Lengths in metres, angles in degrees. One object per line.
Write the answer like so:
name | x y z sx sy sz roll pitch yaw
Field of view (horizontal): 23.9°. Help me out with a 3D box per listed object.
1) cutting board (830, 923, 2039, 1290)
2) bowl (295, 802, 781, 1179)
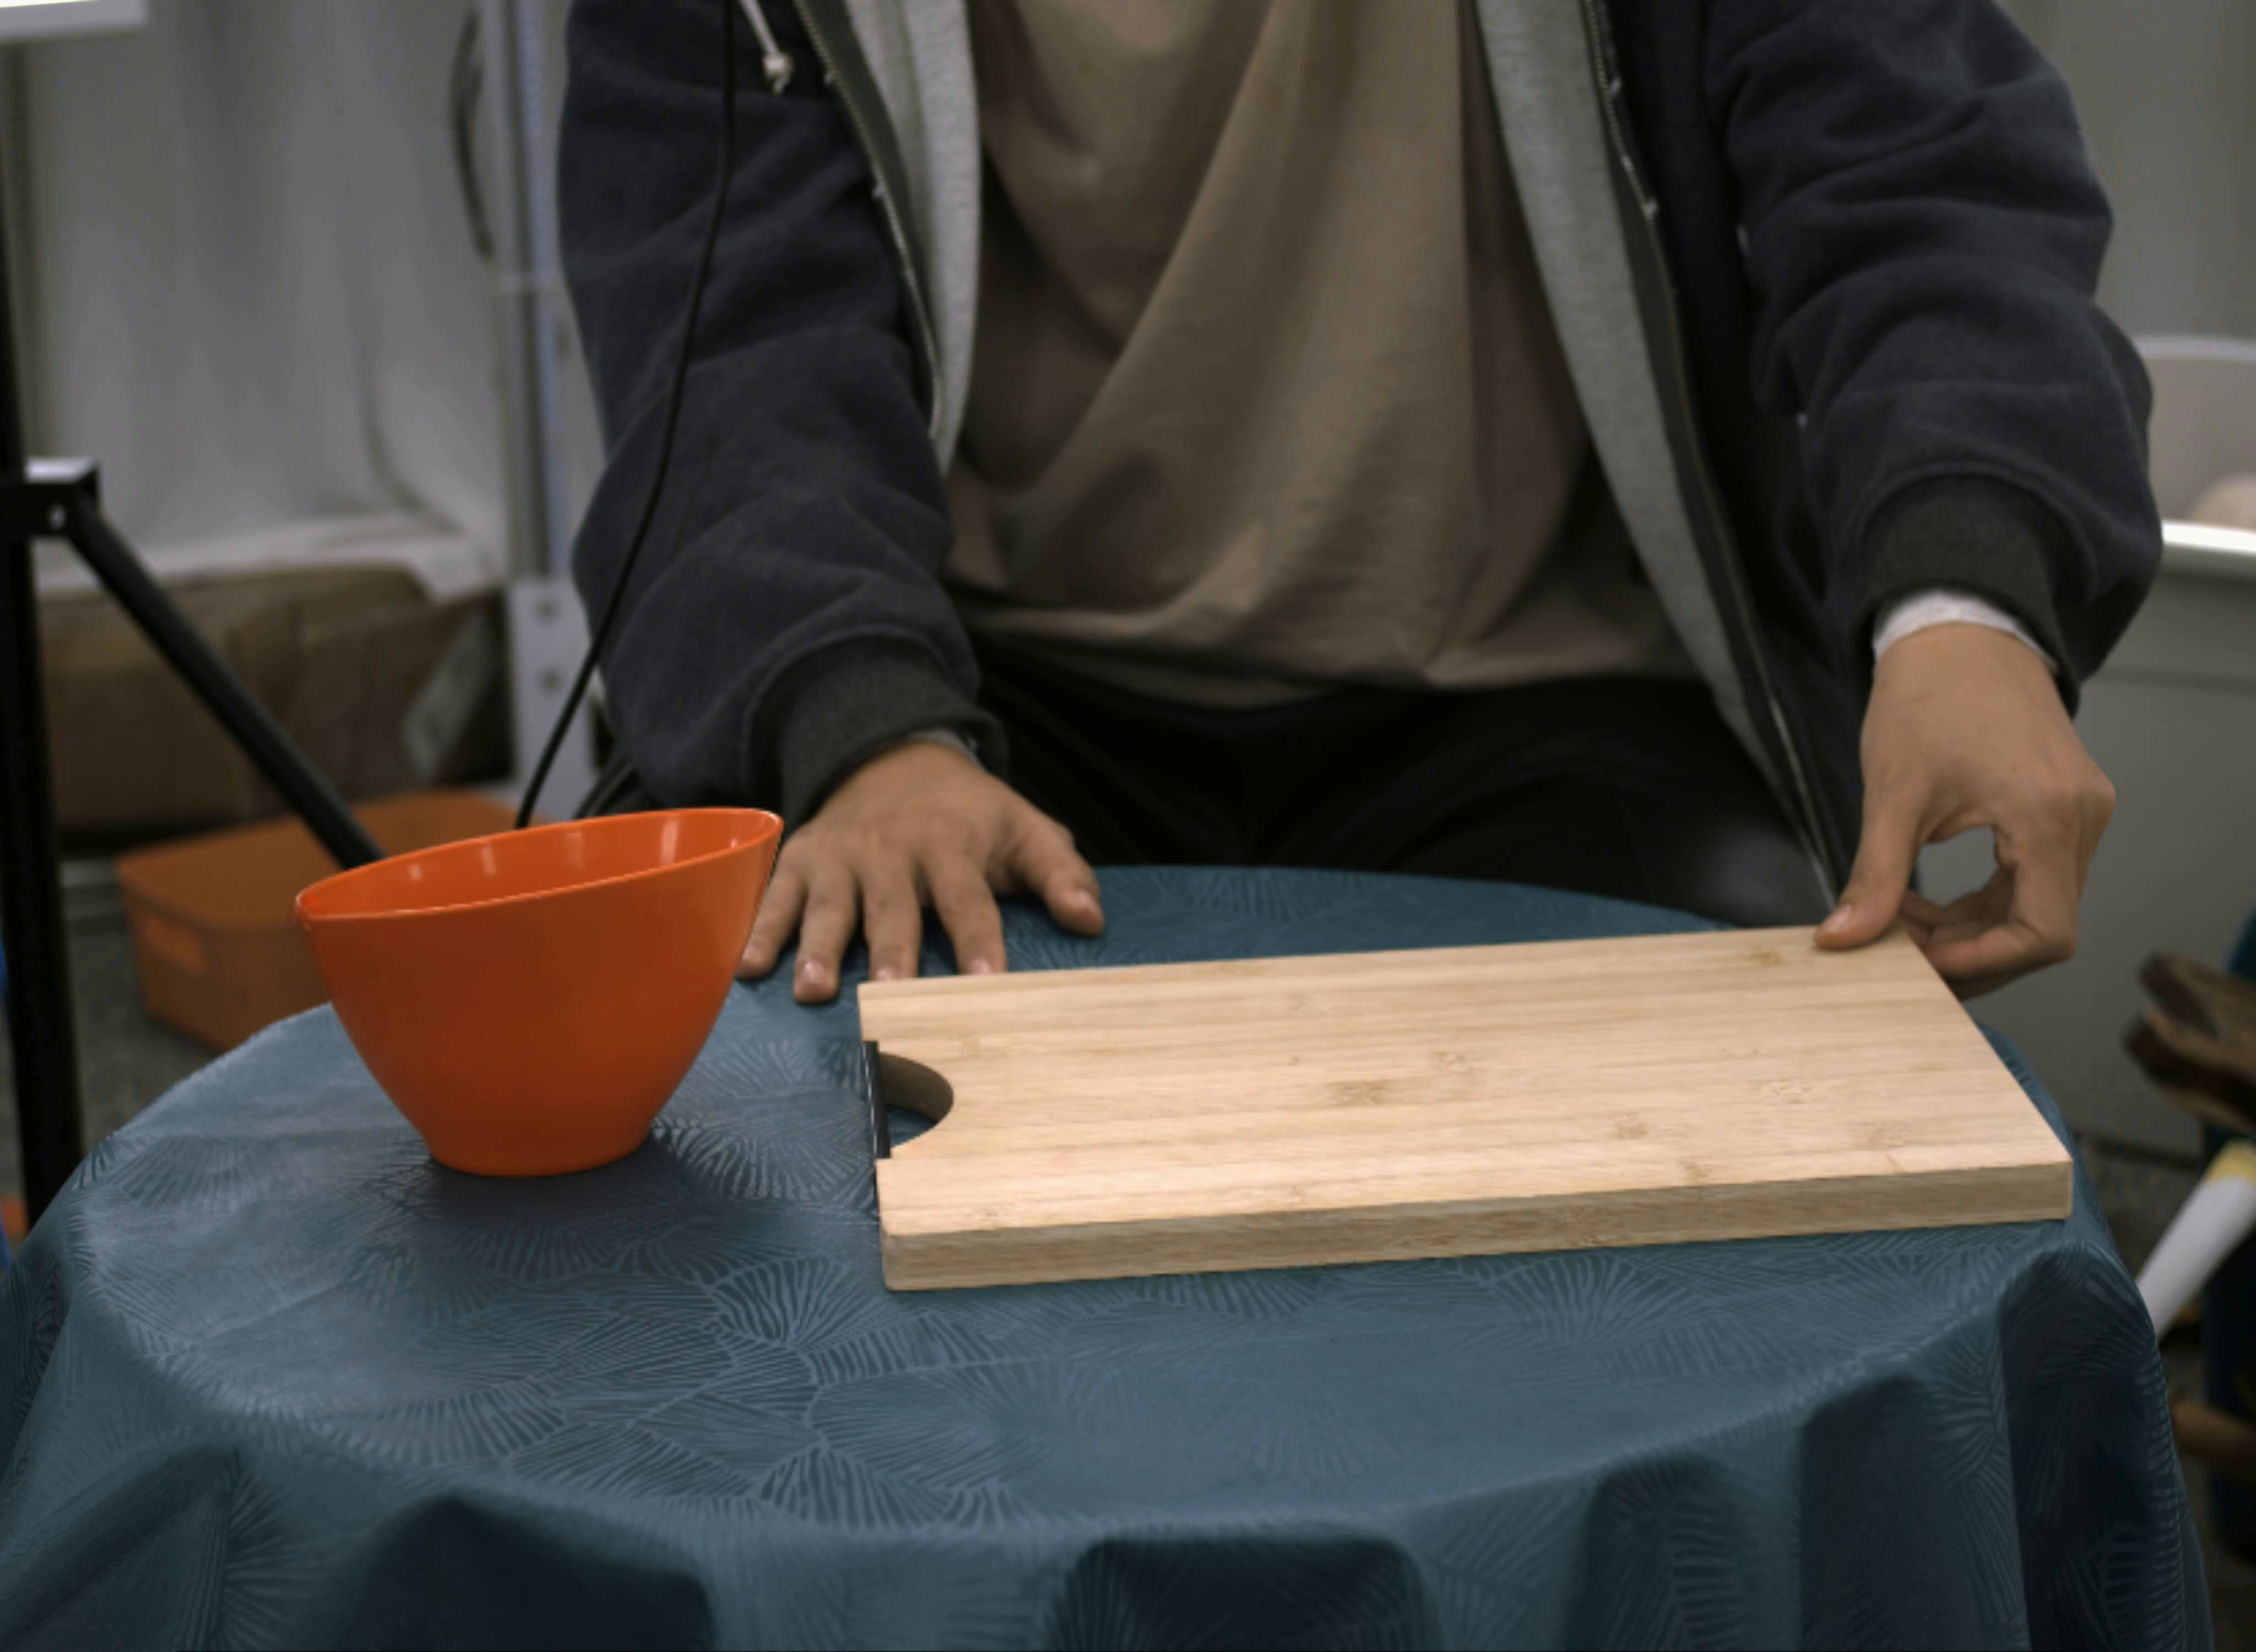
cutting board | 0.085 0.083 1.607 0.346 0.023 0.252 -3 15 -3
bowl | -0.175 0.050 1.609 0.147 0.104 0.149 -4 17 0
